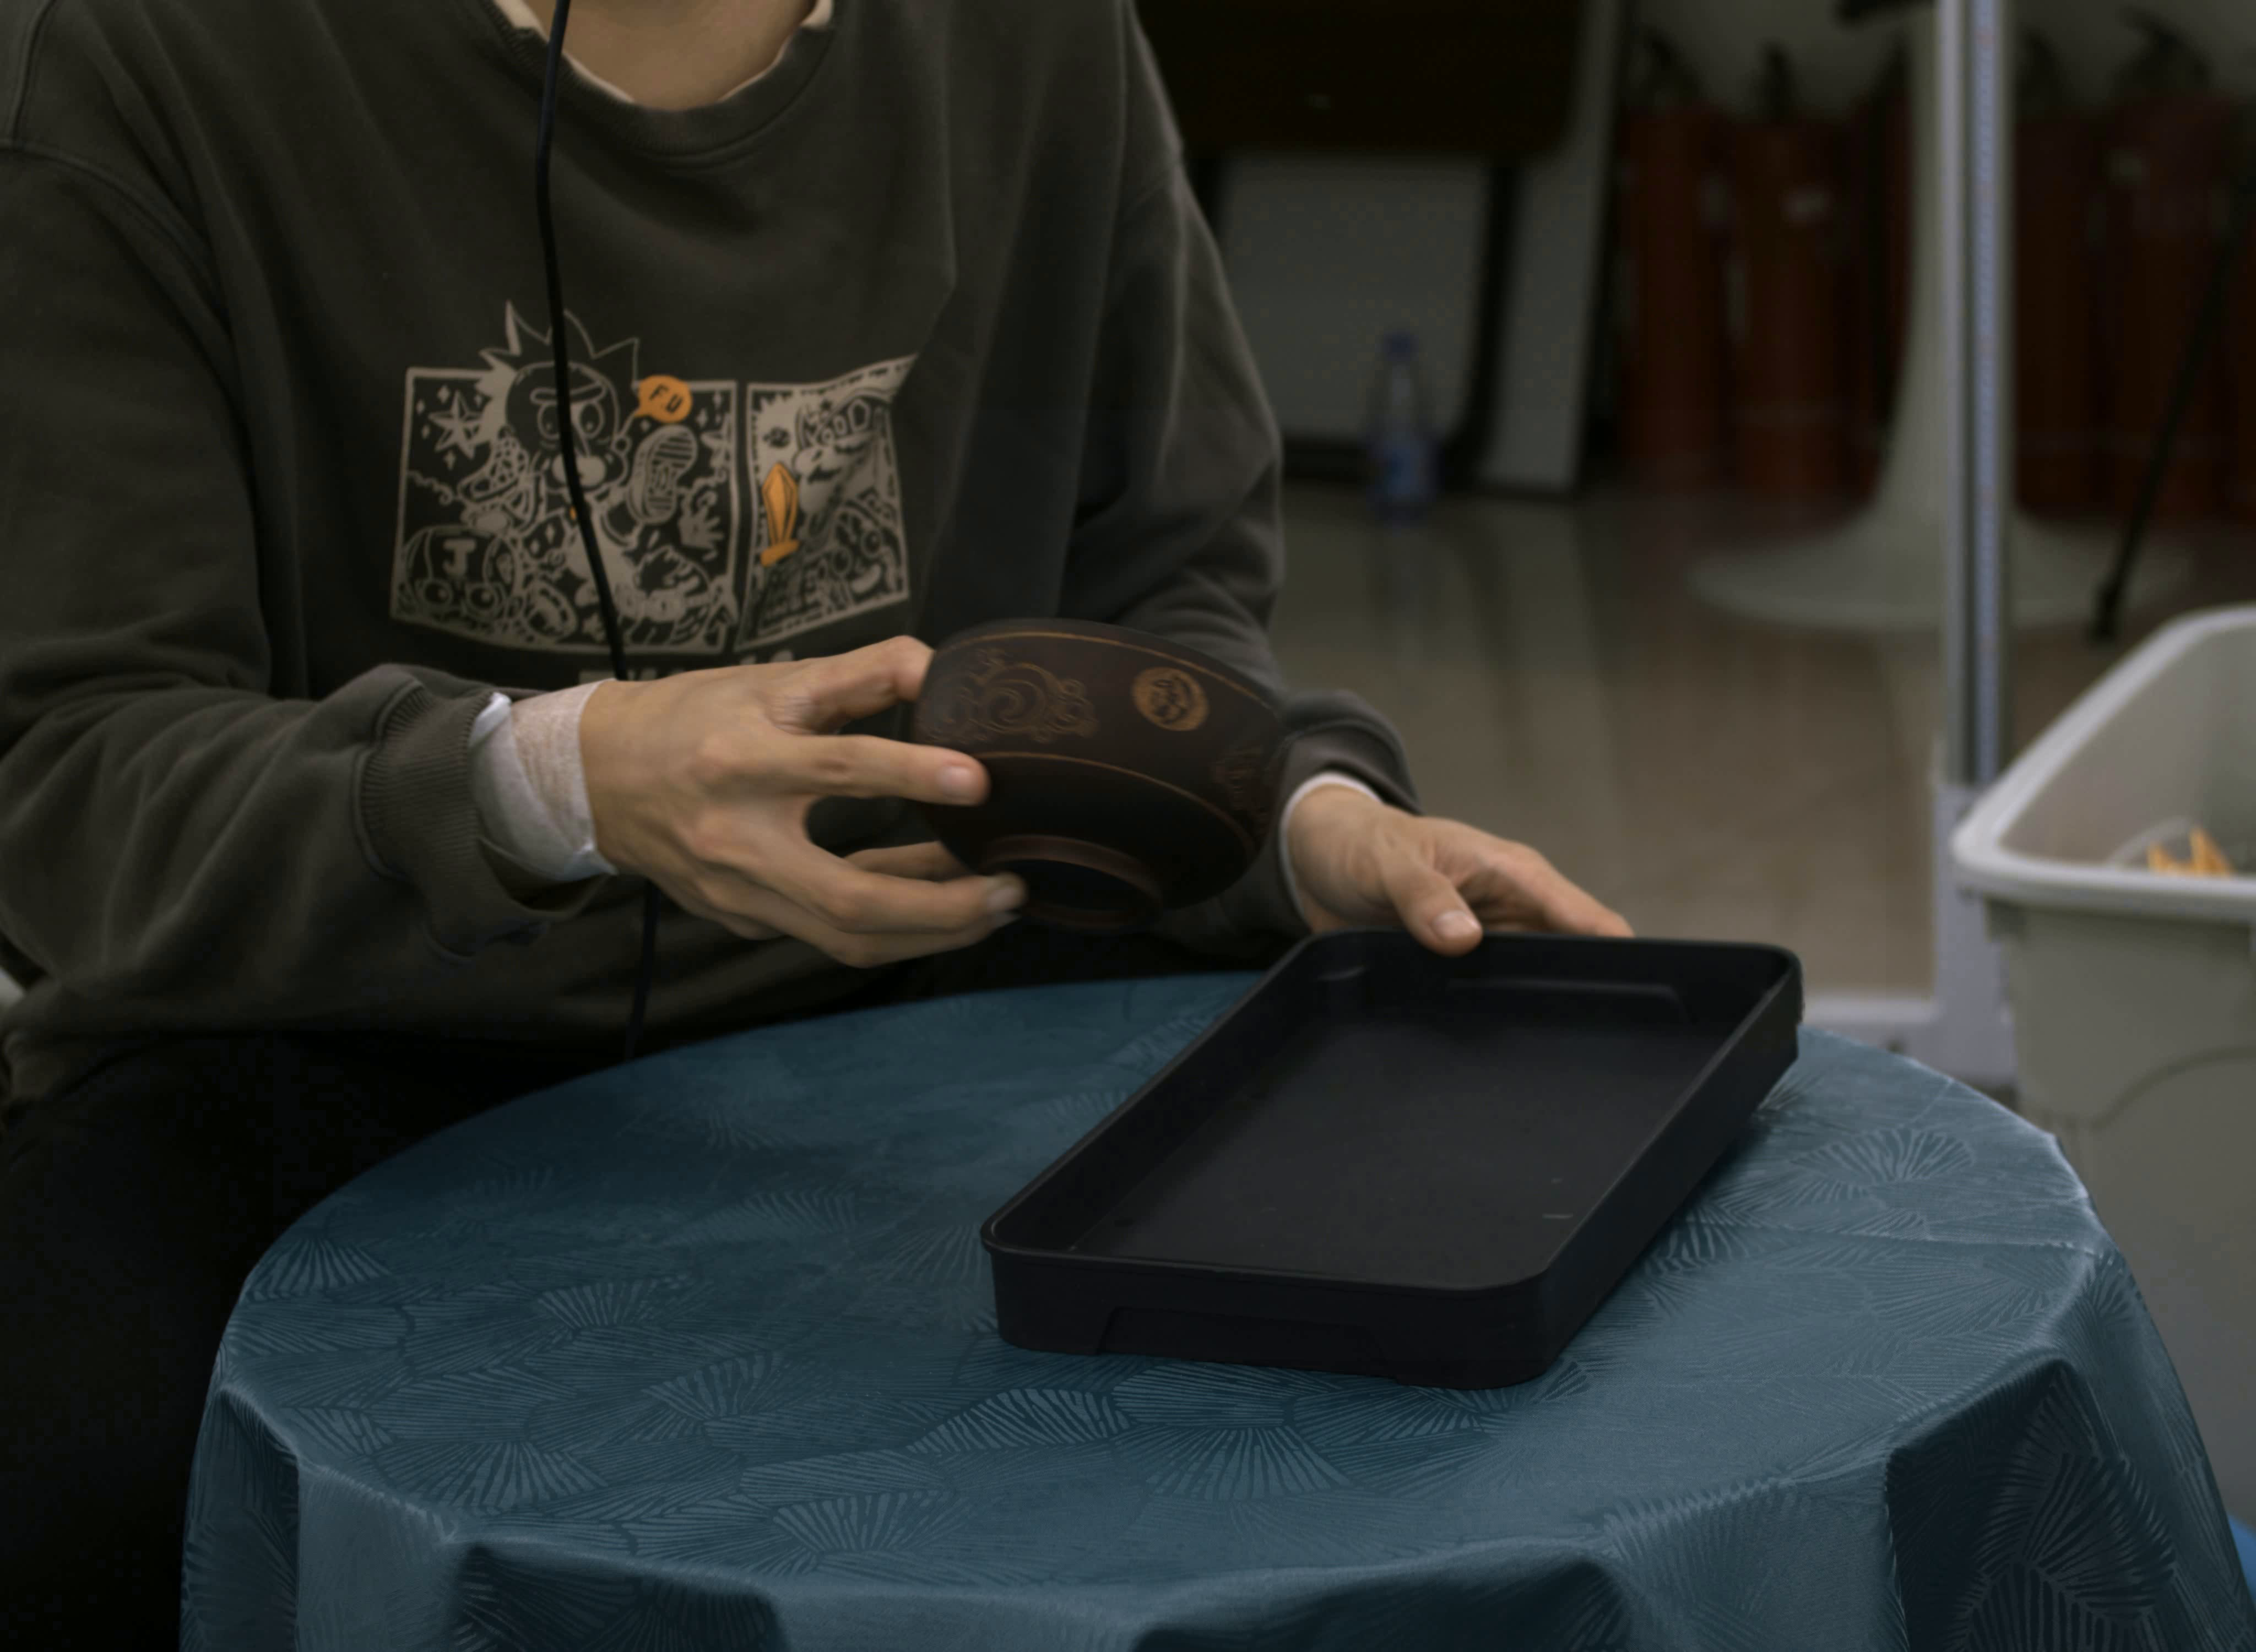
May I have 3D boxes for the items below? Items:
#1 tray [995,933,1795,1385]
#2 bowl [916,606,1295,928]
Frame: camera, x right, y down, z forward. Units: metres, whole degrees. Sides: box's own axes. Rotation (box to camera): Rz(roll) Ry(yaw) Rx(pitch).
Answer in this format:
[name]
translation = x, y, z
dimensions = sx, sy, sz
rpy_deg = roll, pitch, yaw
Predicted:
[tray]
translation = 0.095, 0.101, 1.731
dimensions = 0.184, 0.037, 0.315
rpy_deg = 0, 17, 22
[bowl]
translation = -0.009, -0.011, 1.658
dimensions = 0.117, 0.070, 0.118
rpy_deg = 8, -23, 3
